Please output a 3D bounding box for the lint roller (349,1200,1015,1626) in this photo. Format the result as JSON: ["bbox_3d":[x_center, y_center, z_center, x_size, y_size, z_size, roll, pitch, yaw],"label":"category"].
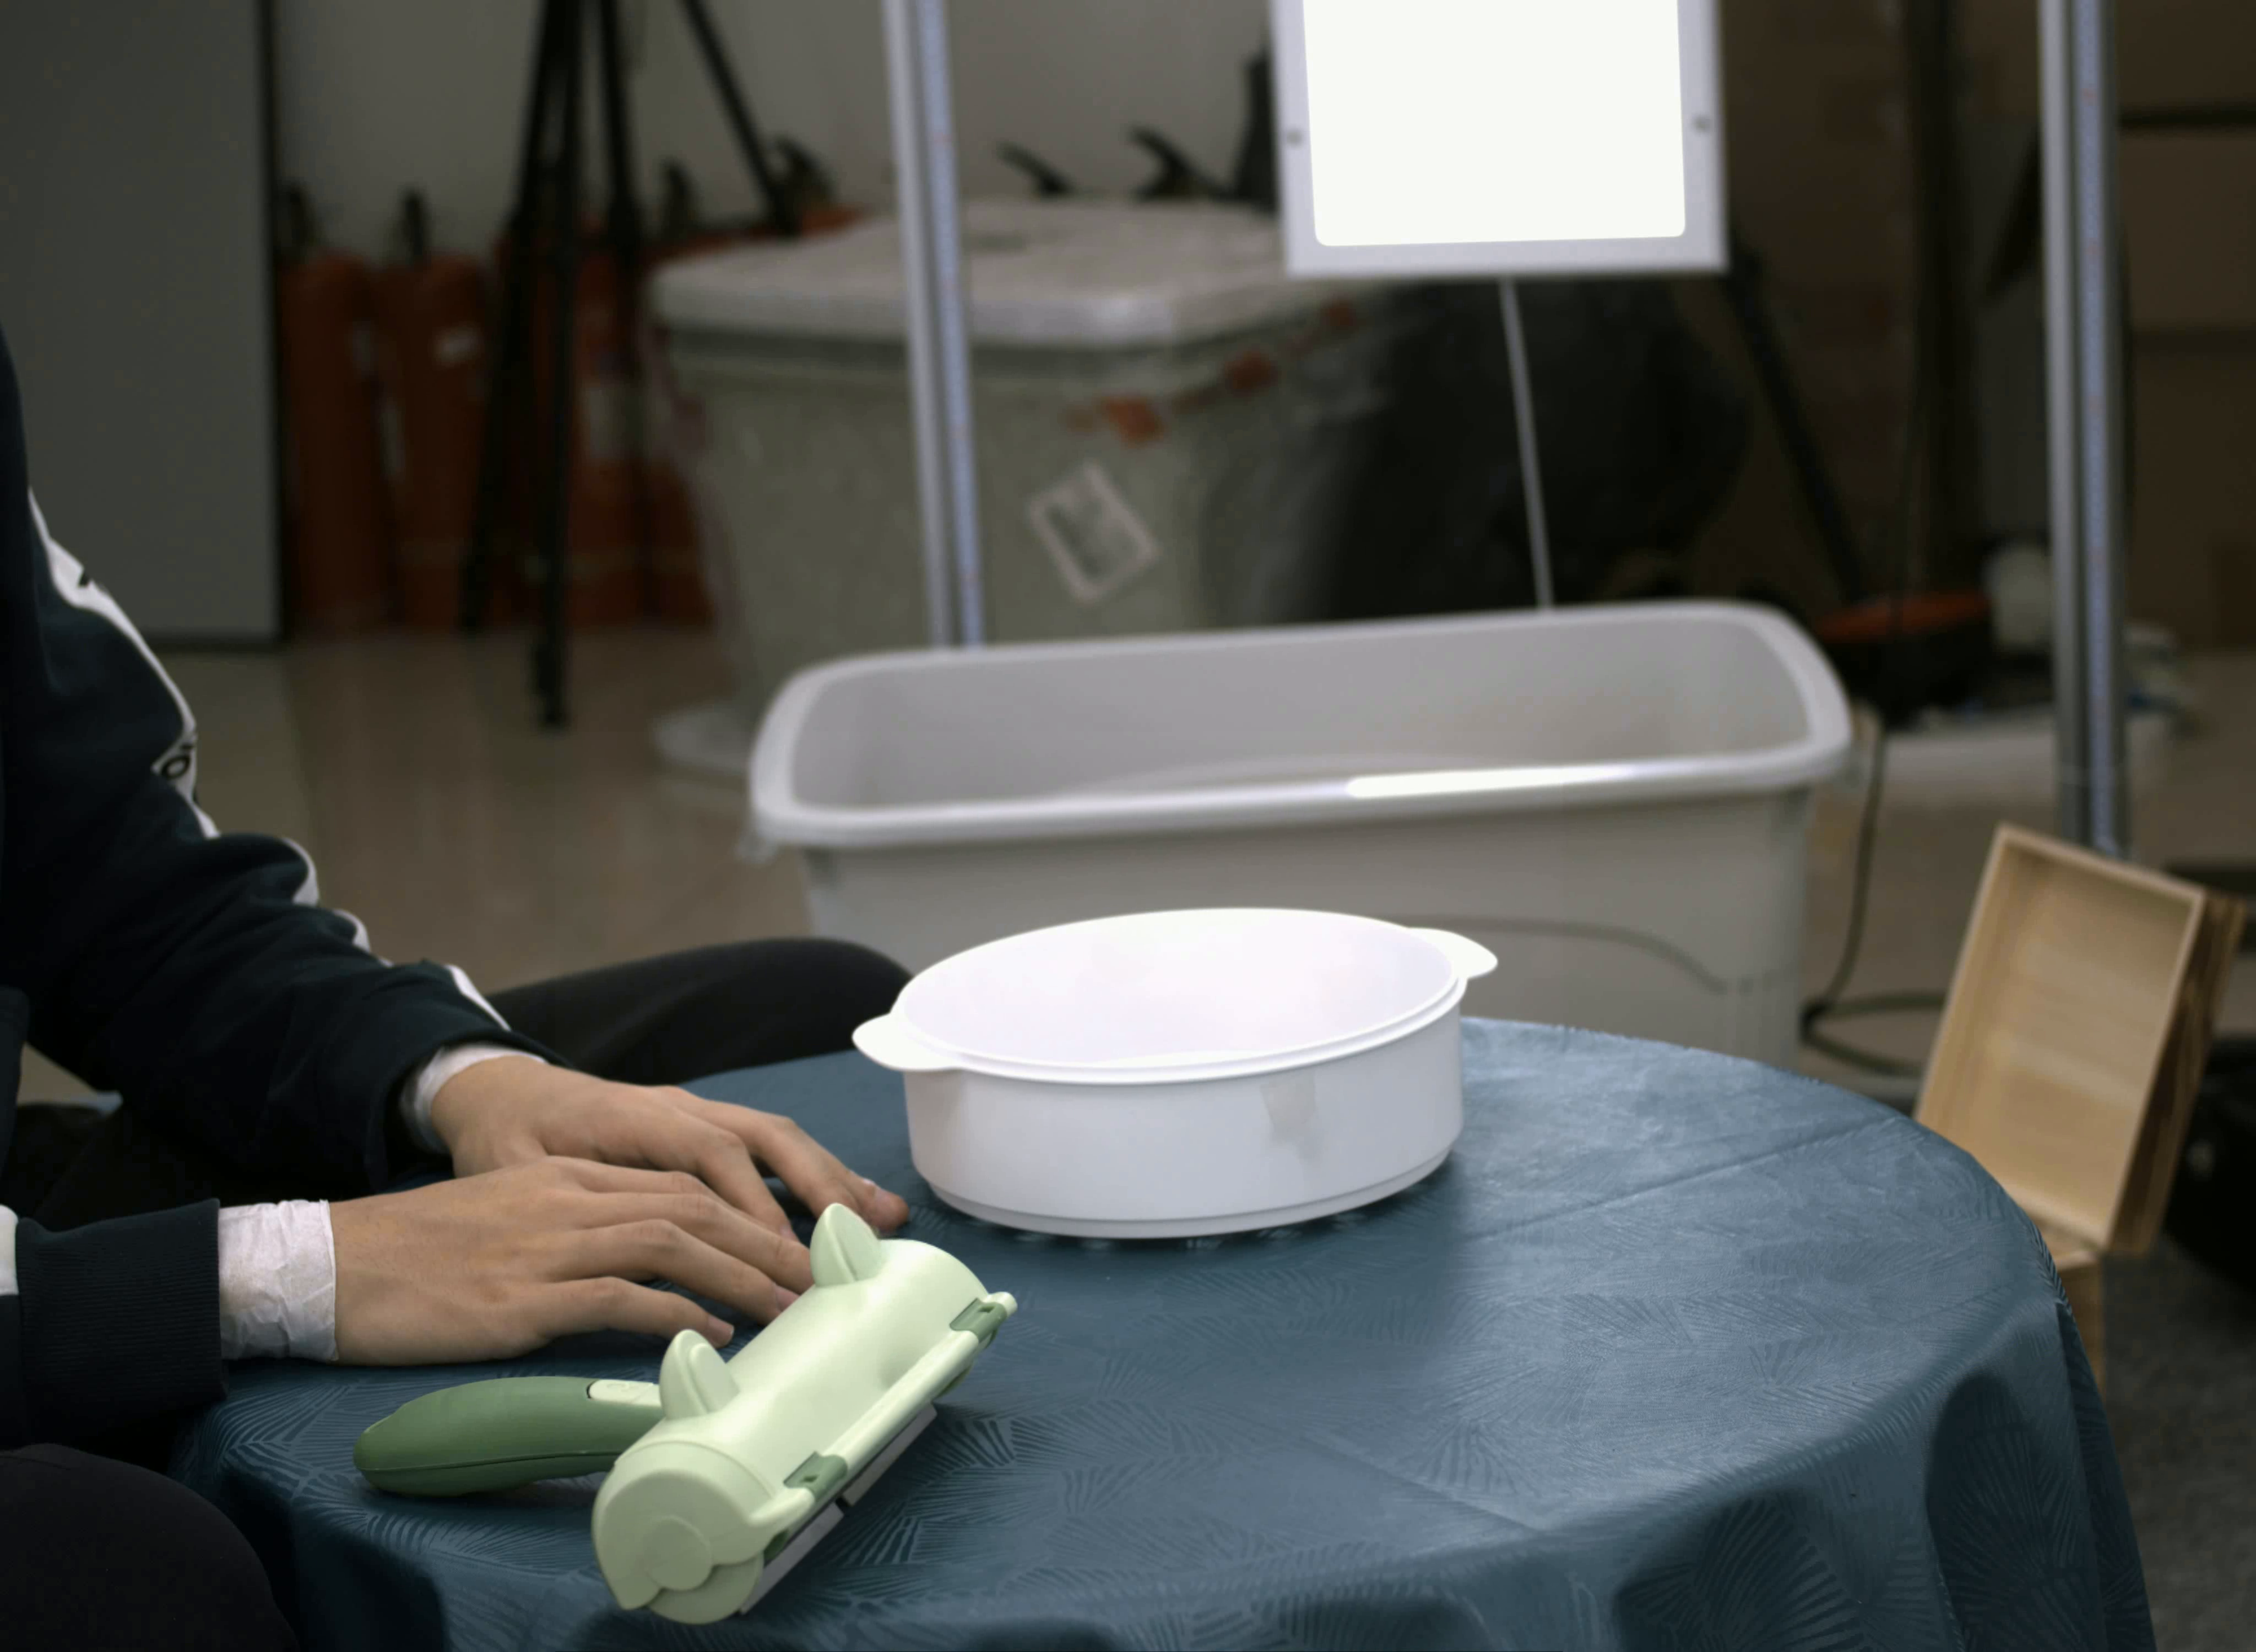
[{"bbox_3d":[-0.149,0.164,1.635,0.185,0.082,0.195,4,16,19],"label":"lint roller"}]

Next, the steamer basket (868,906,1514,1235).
[{"bbox_3d":[0.025,0.085,1.910,0.227,0.069,0.204,-8,15,-18],"label":"steamer basket"}]
